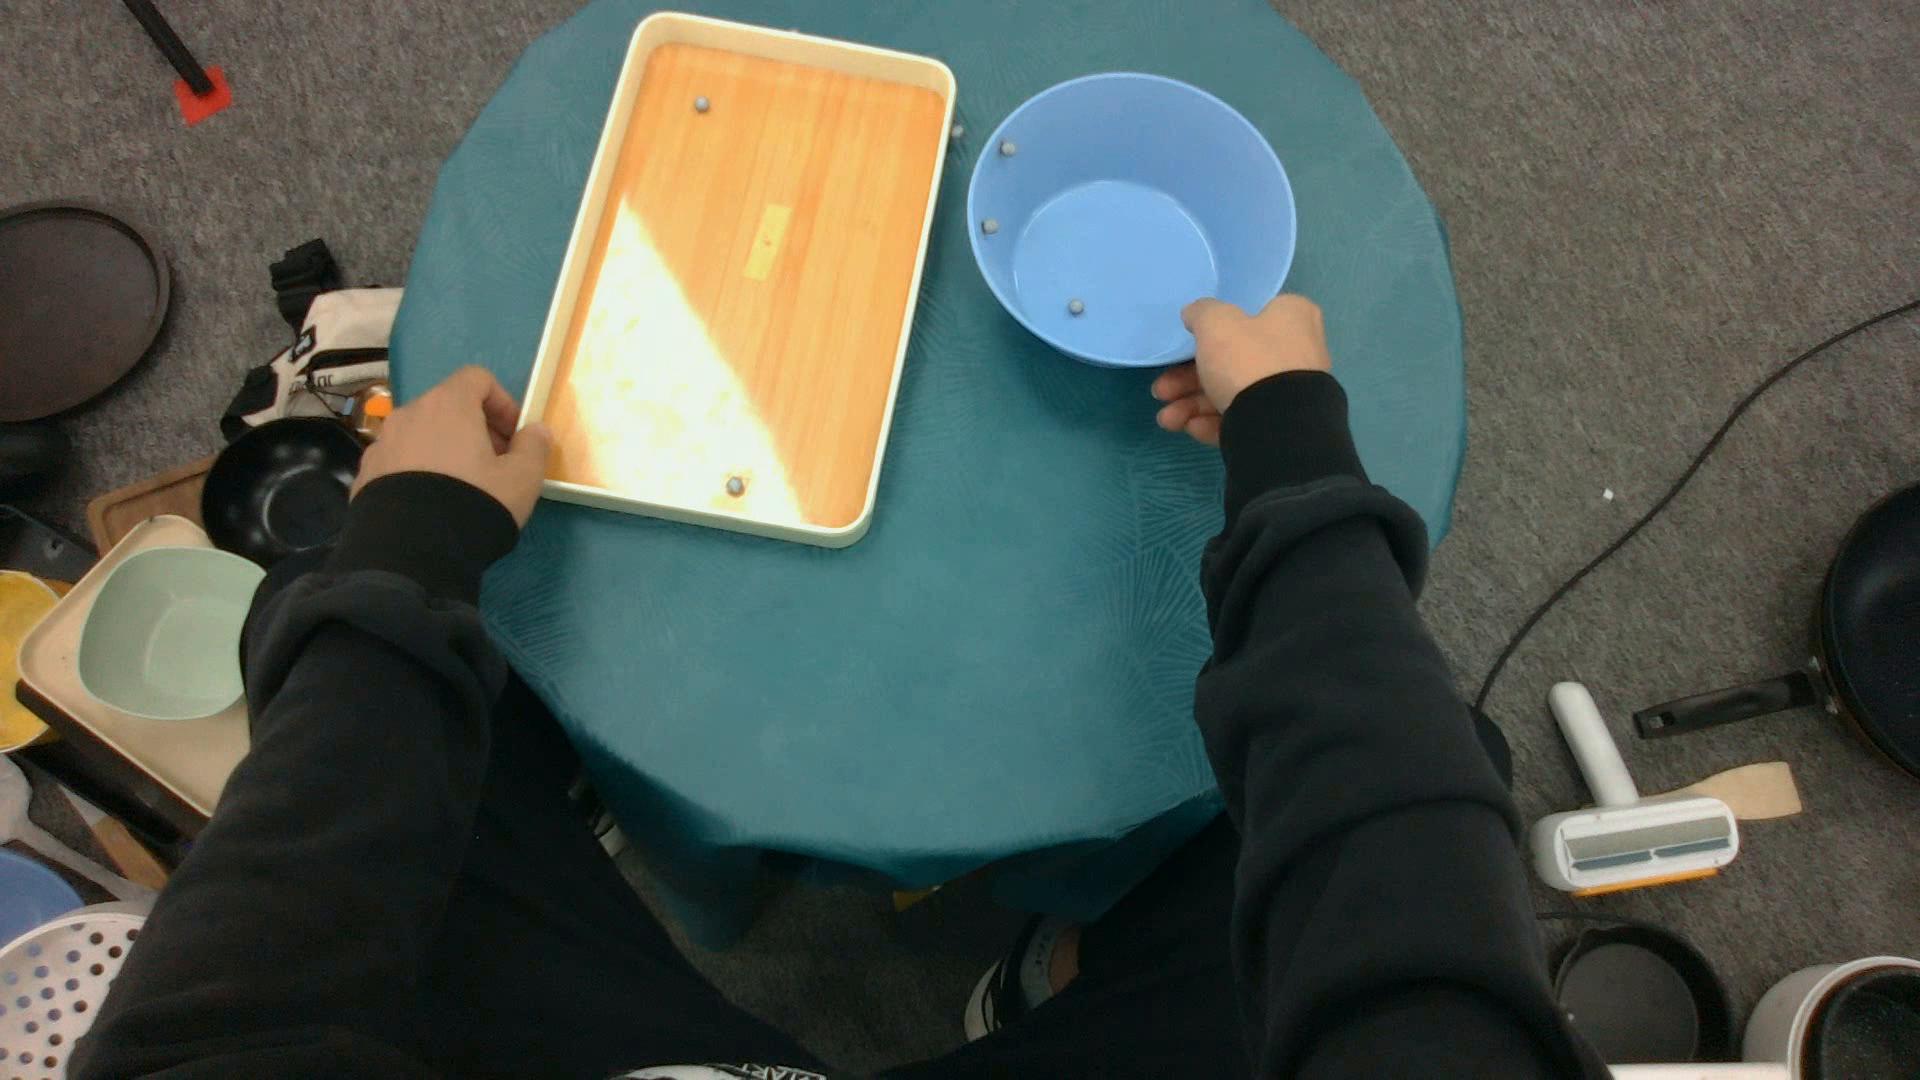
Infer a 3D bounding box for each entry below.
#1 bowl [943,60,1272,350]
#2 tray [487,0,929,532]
[{"bbox_3d":[0.078,-0.172,0.761,0.176,0.070,0.176,1,71,-2],"label":"bowl"},{"bbox_3d":[-0.132,-0.159,0.765,0.191,0.027,0.301,9,71,0],"label":"tray"}]
